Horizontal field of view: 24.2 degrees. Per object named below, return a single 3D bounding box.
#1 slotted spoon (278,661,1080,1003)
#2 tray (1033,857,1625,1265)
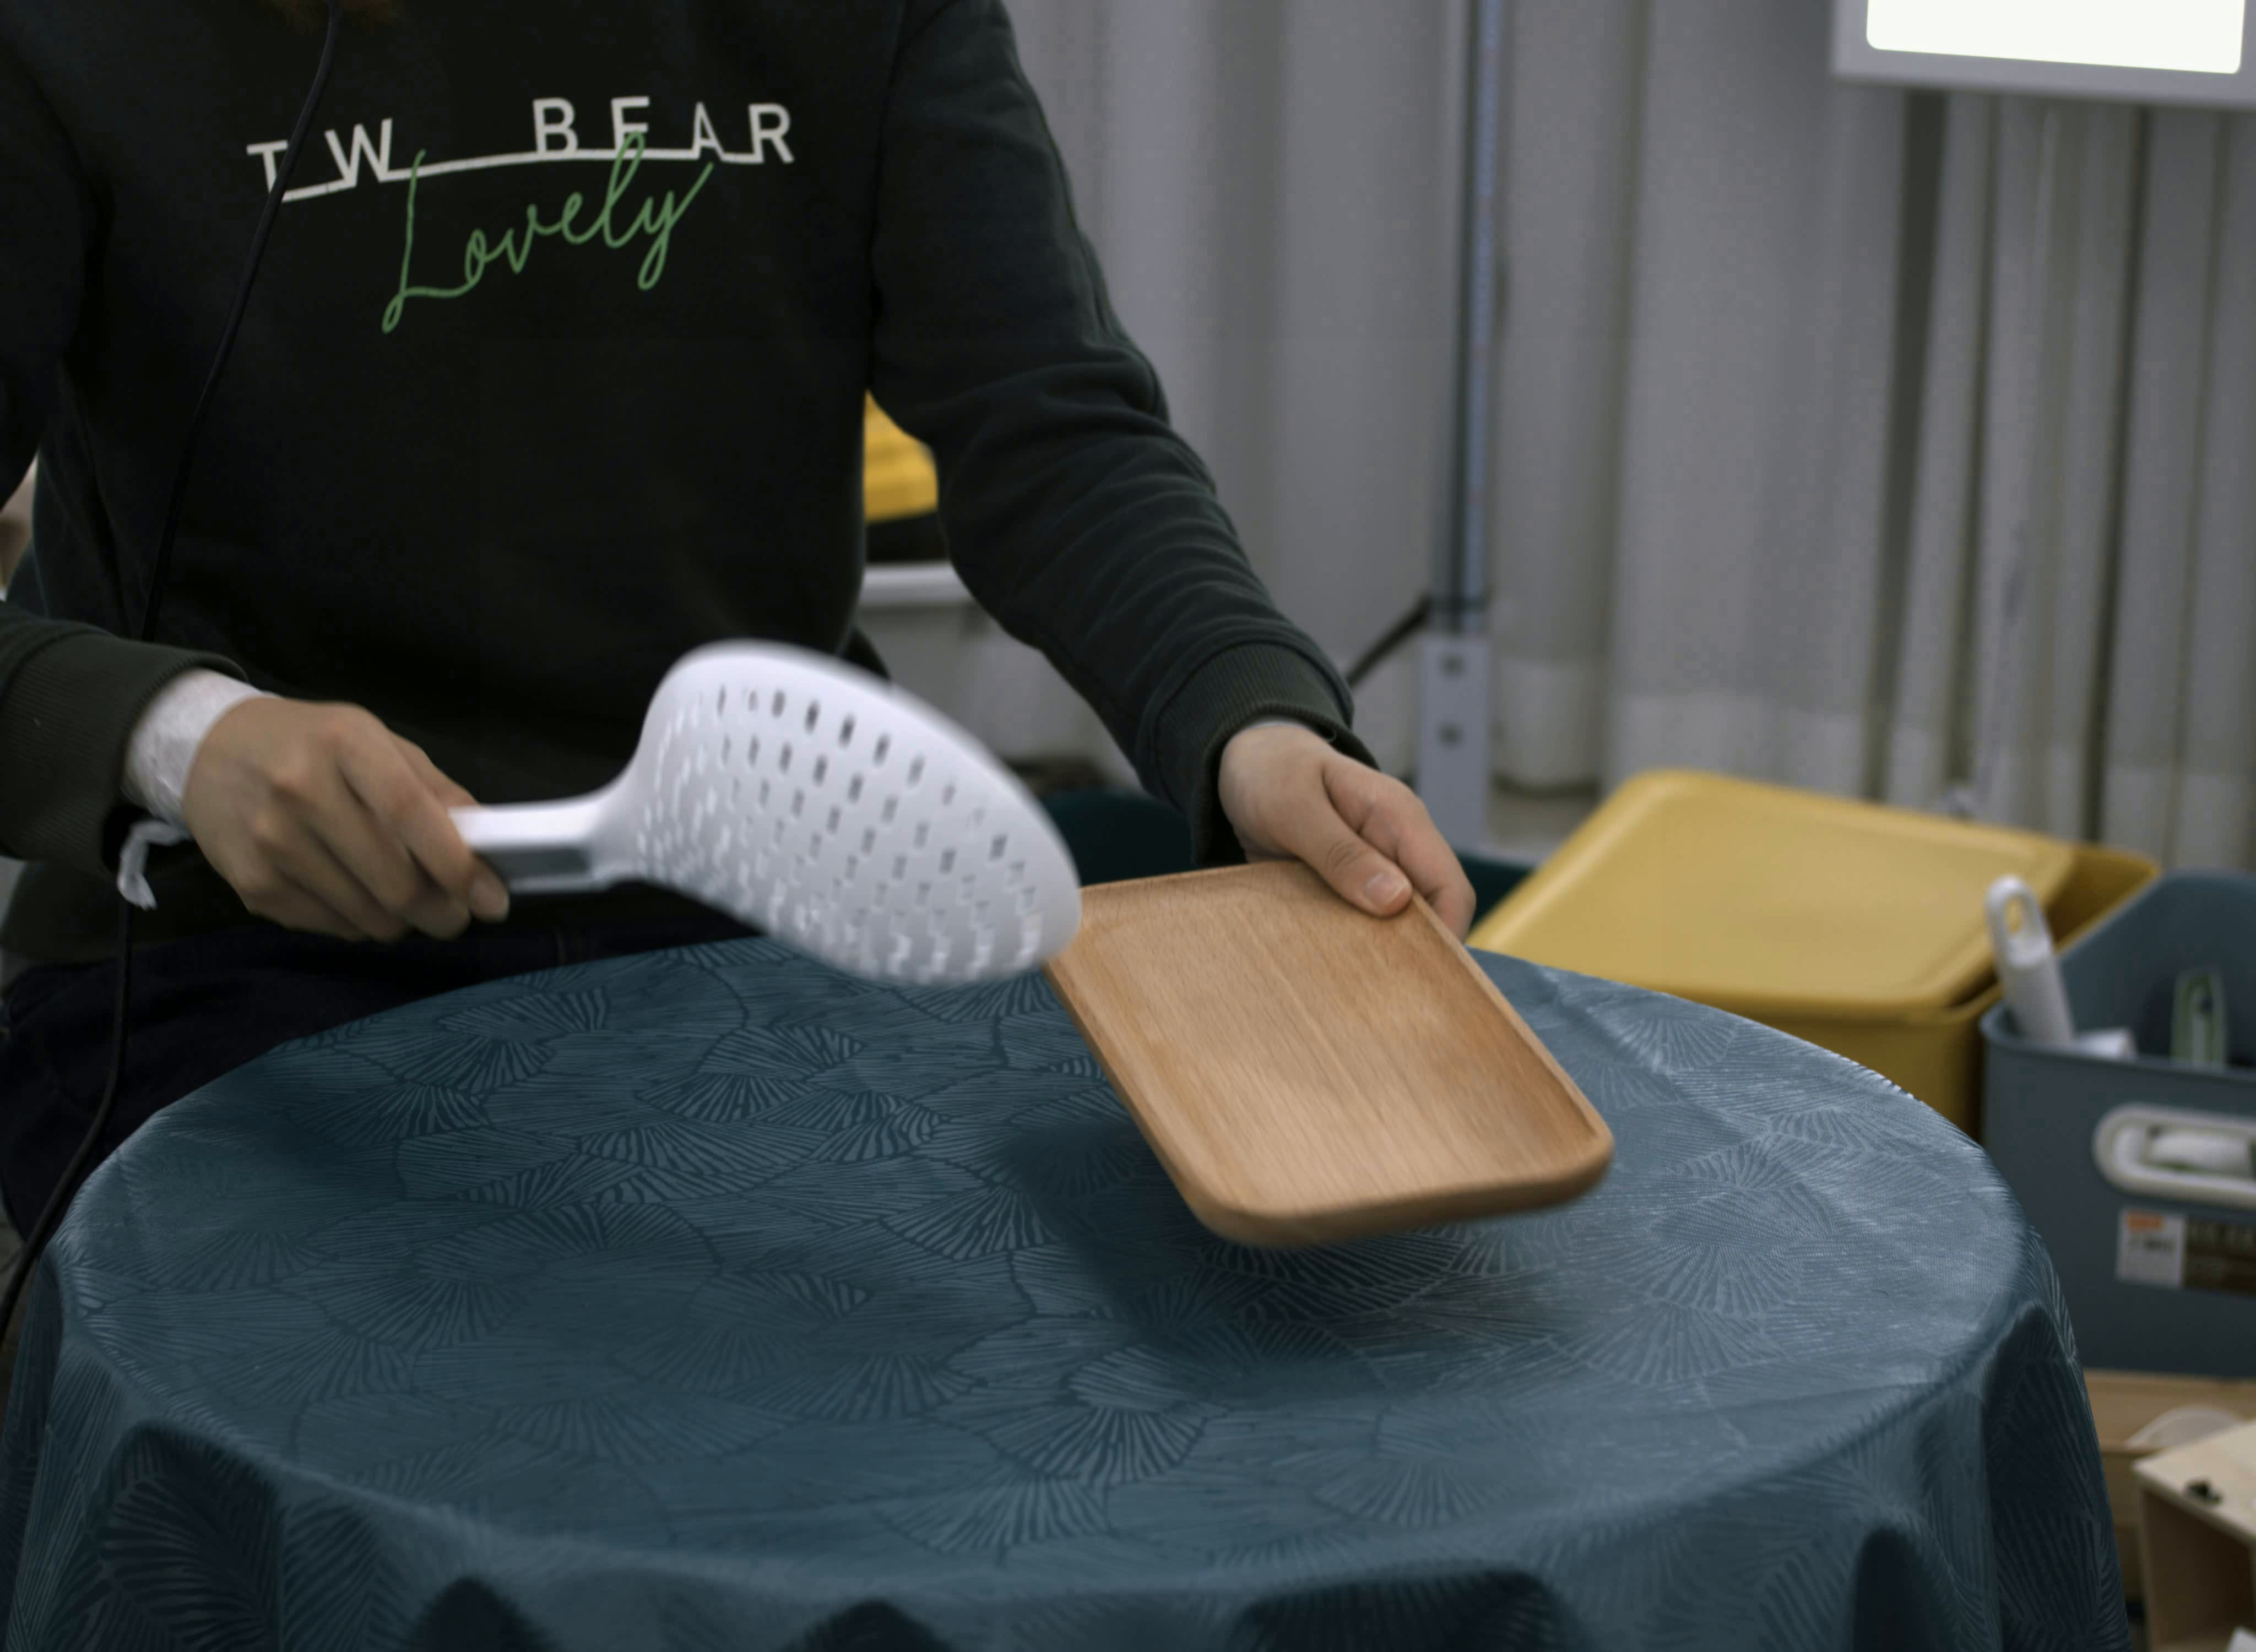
[{"bbox_3d":[-0.148,0.009,1.552,0.346,0.138,0.045,3,52,51],"label":"slotted spoon"},{"bbox_3d":[0.055,0.068,1.593,0.131,0.023,0.248,-5,23,-15],"label":"tray"}]
